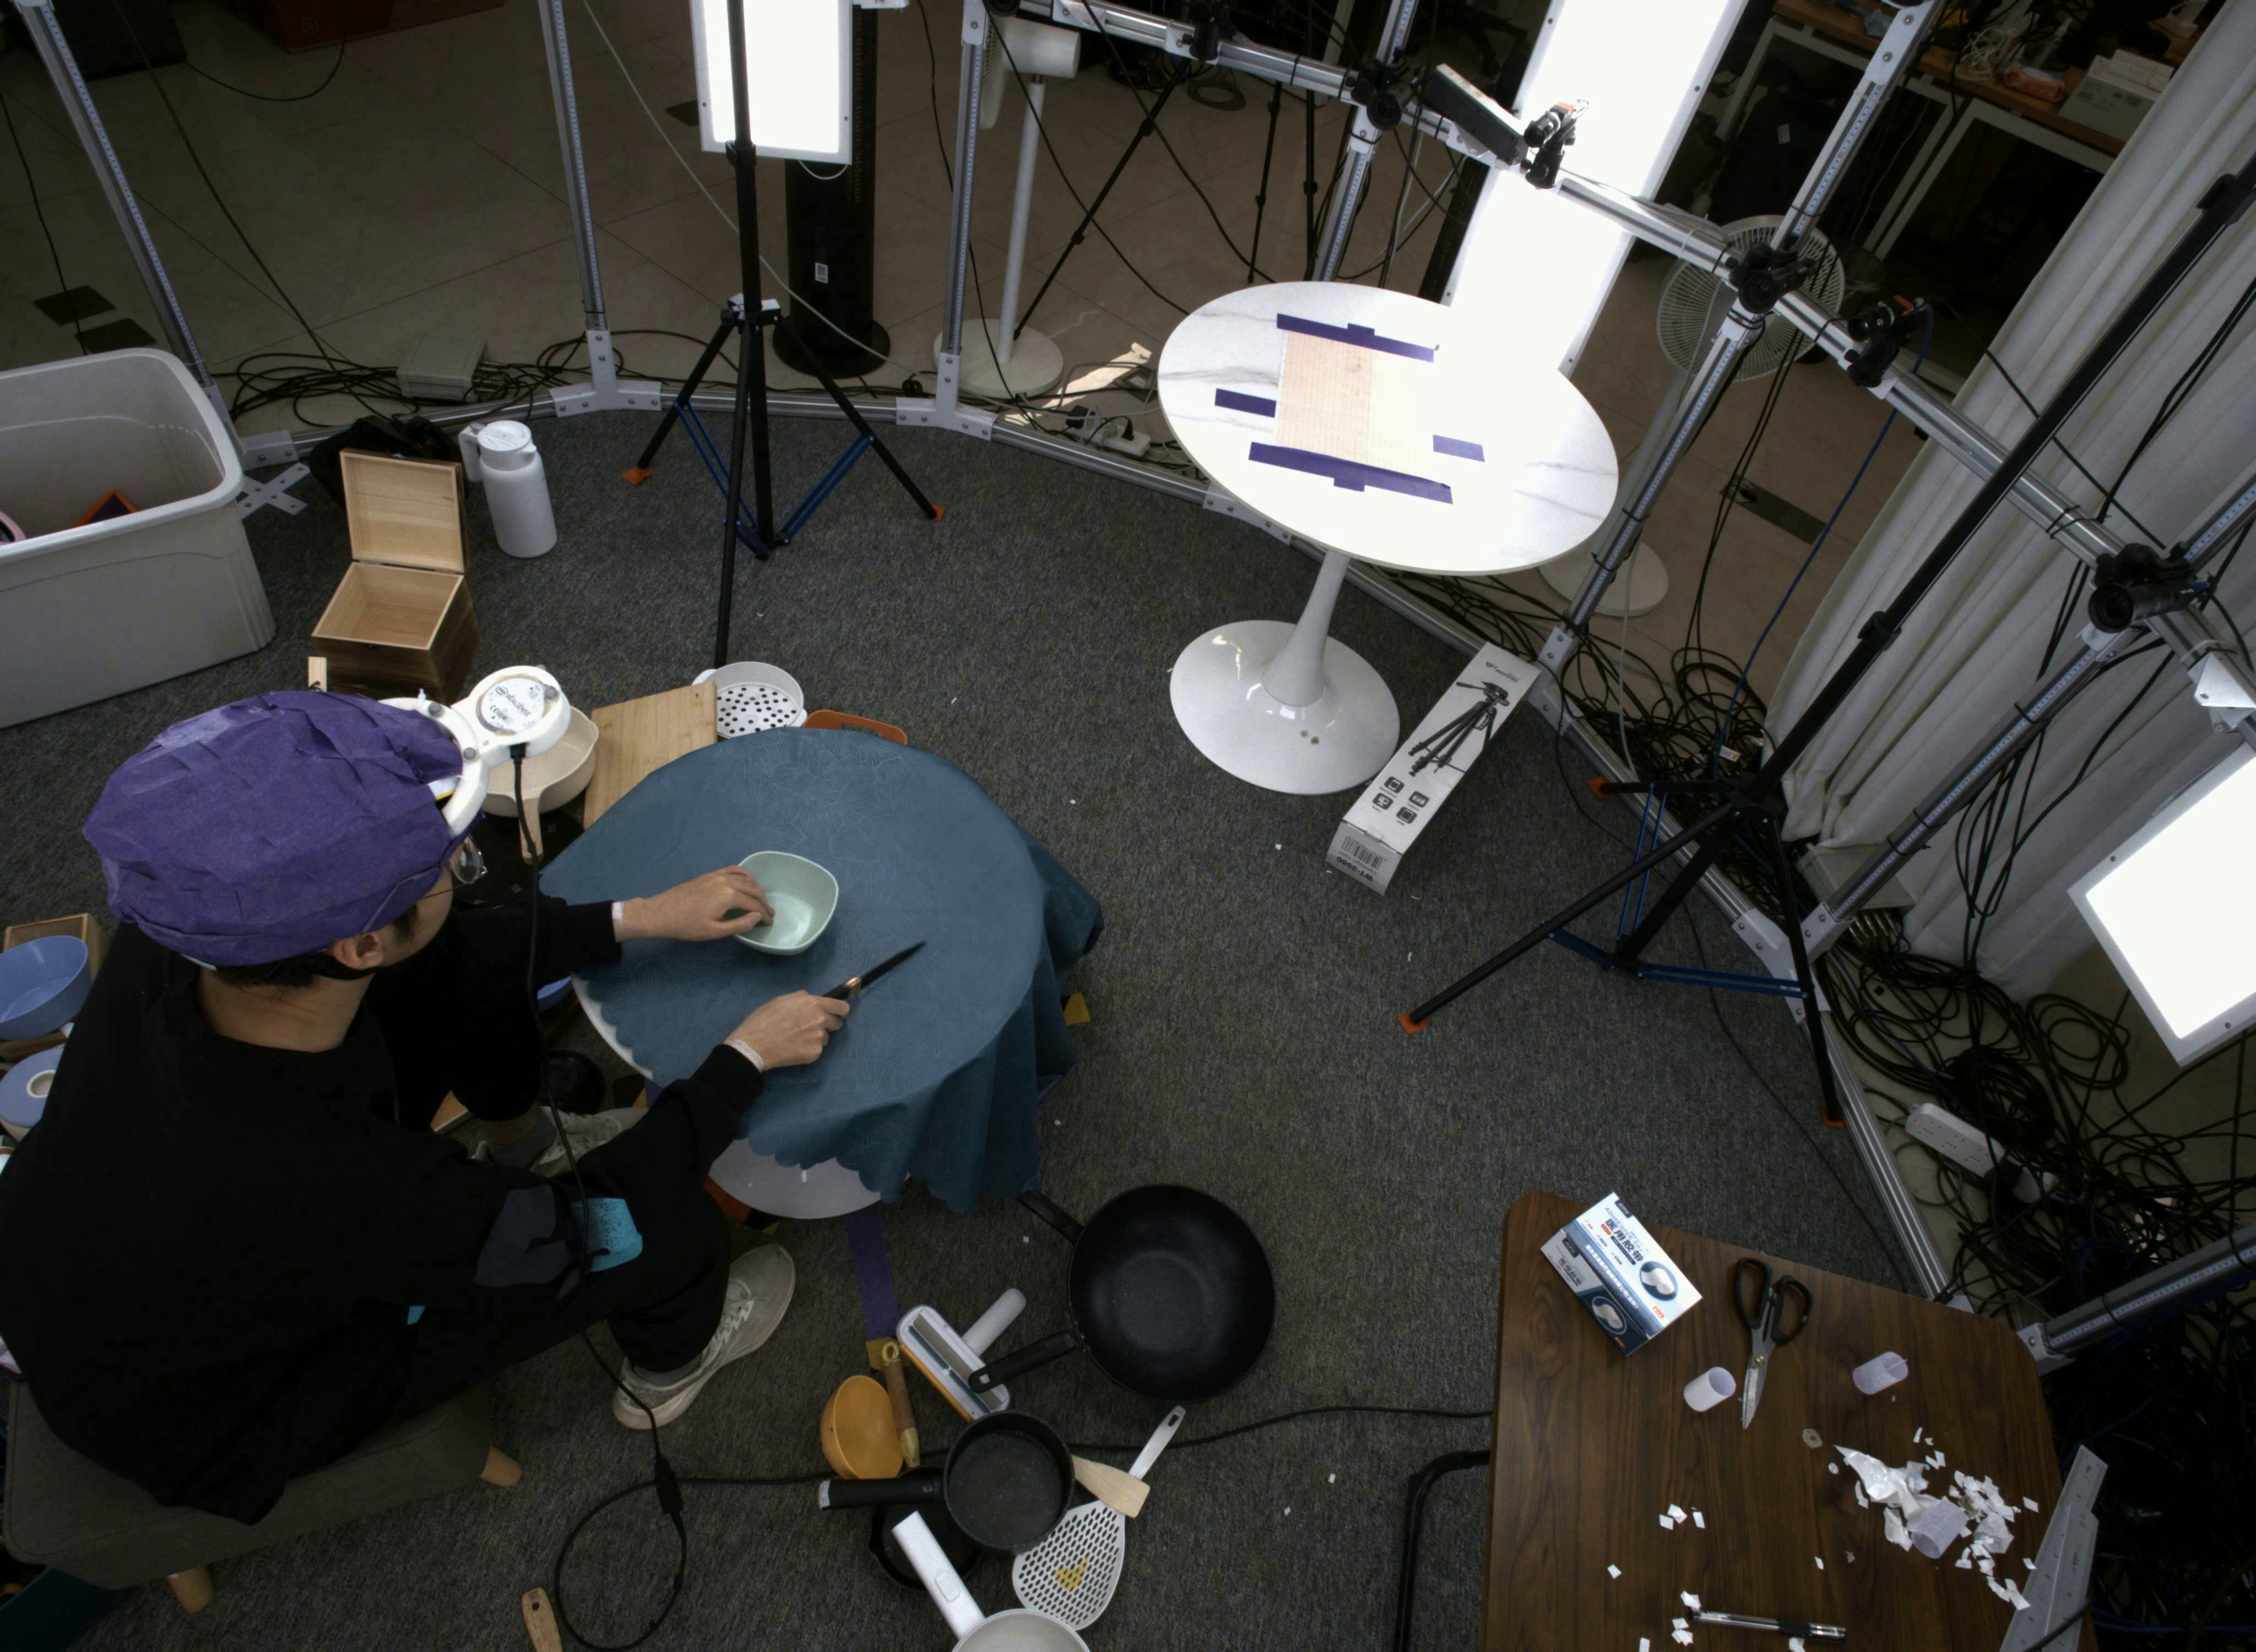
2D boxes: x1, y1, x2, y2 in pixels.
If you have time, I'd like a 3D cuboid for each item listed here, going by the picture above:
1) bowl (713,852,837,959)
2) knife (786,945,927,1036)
[{"bbox_3d":[-0.434,0.107,1.596,0.151,0.060,0.149,9,52,-10],"label":"bowl"},{"bbox_3d":[-0.325,0.190,1.574,0.016,0.027,0.226,19,35,32],"label":"knife"}]
